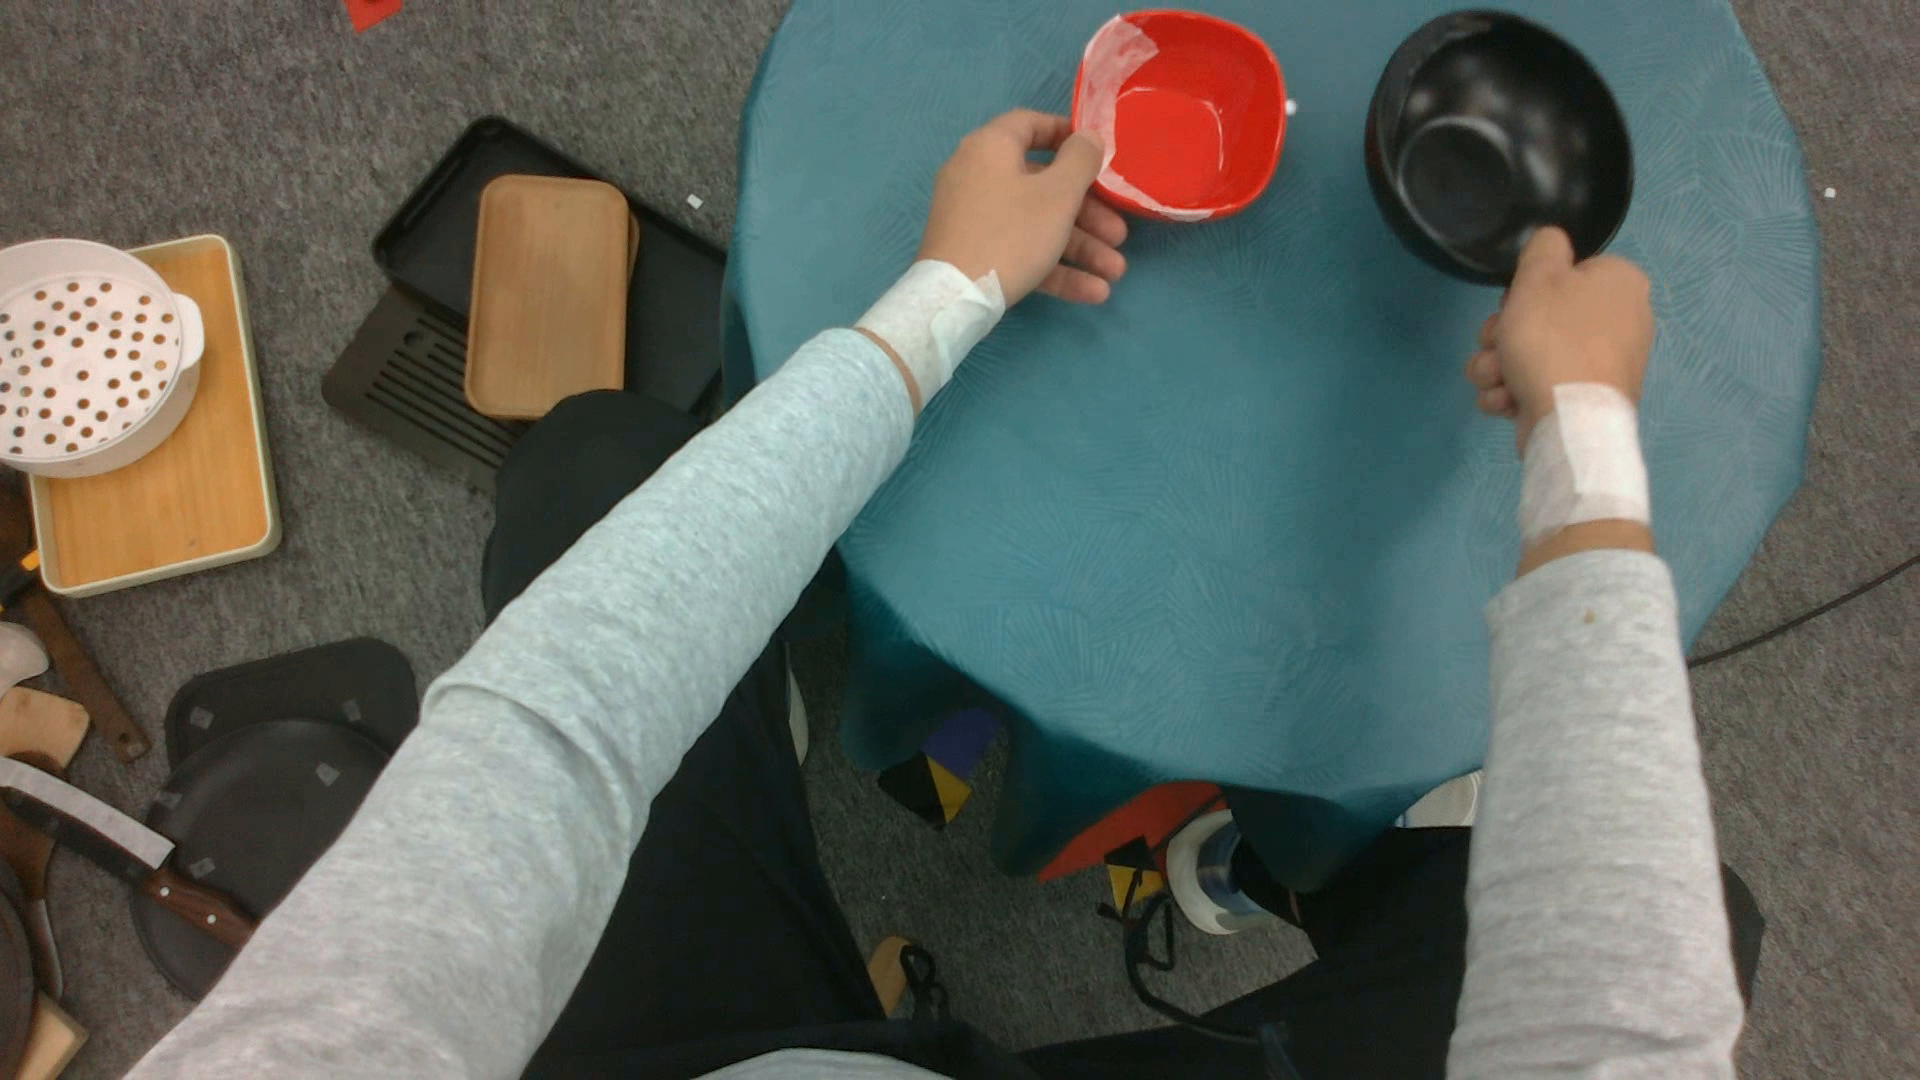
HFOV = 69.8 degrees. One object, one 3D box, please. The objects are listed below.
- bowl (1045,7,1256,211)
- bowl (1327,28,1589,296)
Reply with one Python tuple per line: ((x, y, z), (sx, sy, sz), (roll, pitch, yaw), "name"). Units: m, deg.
((0.096, -0.219, 0.730), (0.119, 0.051, 0.119), (1, 77, -6), "bowl")
((0.245, -0.185, 0.703), (0.140, 0.049, 0.140), (2, 80, -12), "bowl")
